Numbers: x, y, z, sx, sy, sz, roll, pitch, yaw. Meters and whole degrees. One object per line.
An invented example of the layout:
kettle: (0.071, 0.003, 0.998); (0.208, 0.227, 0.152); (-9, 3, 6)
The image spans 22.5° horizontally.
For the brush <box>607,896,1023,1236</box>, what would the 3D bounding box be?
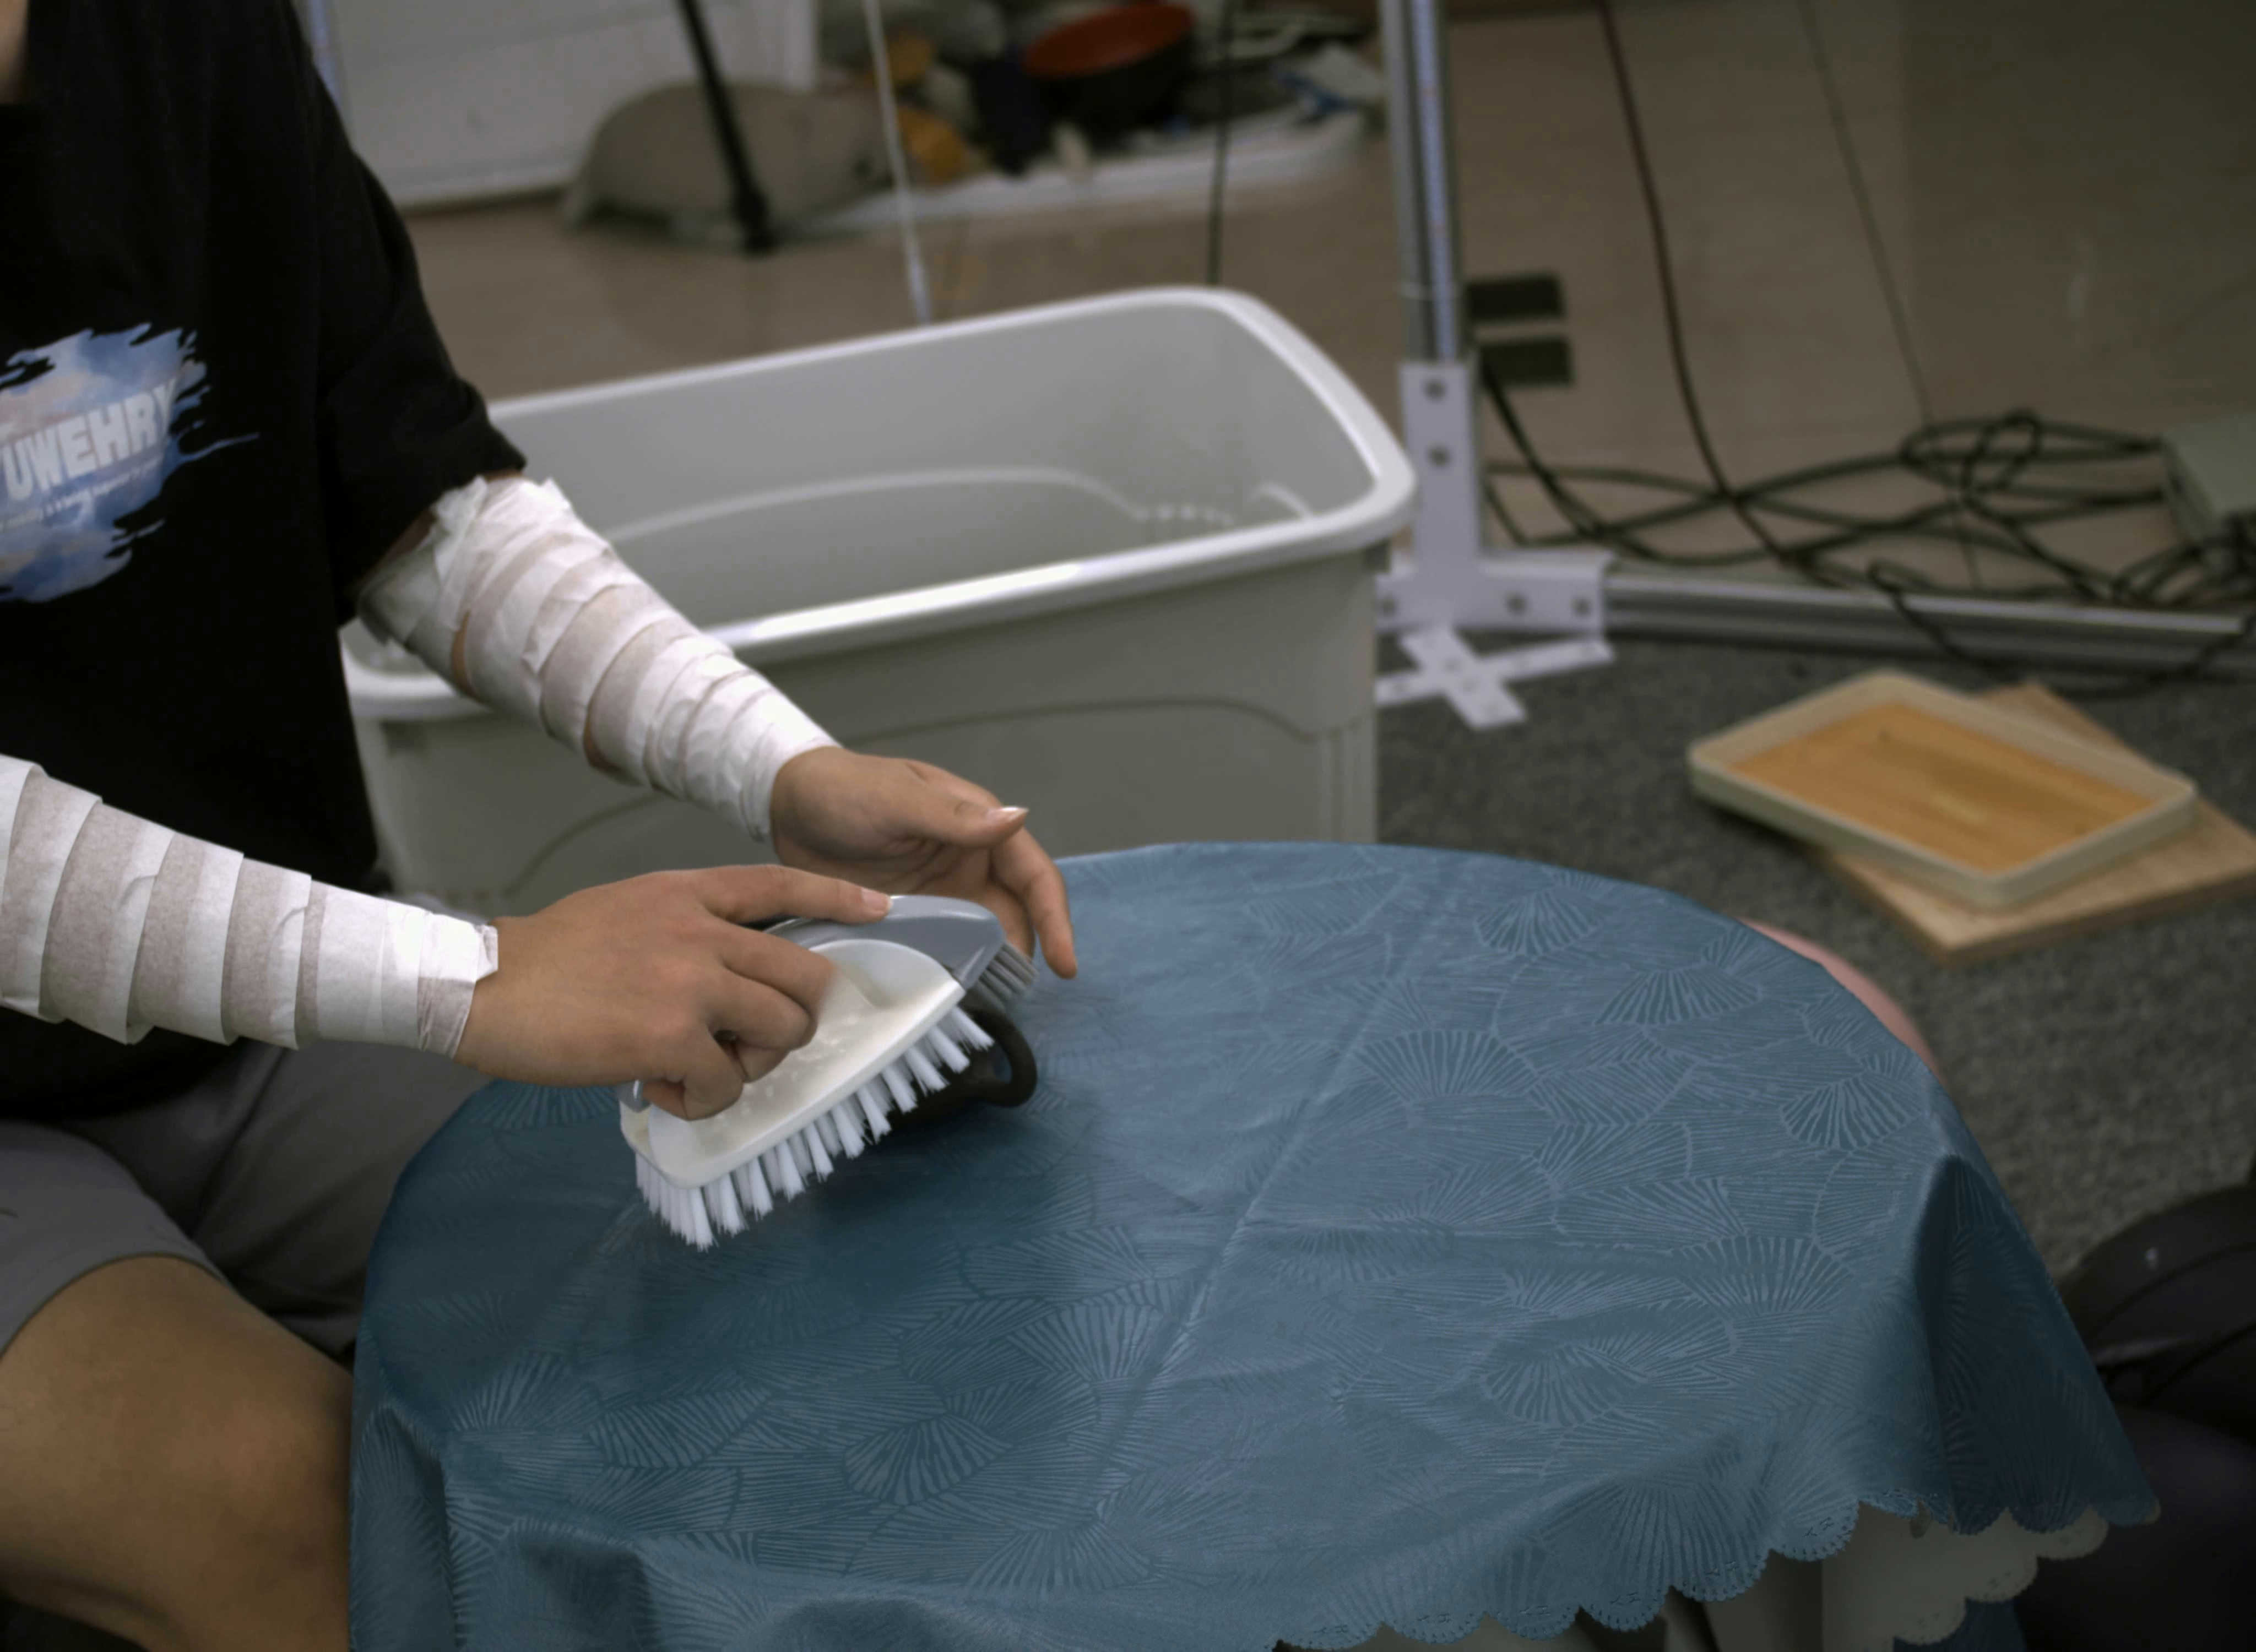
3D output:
brush: (-0.119, 0.072, 2.140); (0.174, 0.096, 0.060); (-31, 46, -17)

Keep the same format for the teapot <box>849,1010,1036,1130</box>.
teapot: (-0.081, 0.086, 2.223); (0.113, 0.054, 0.082); (12, 31, 39)
